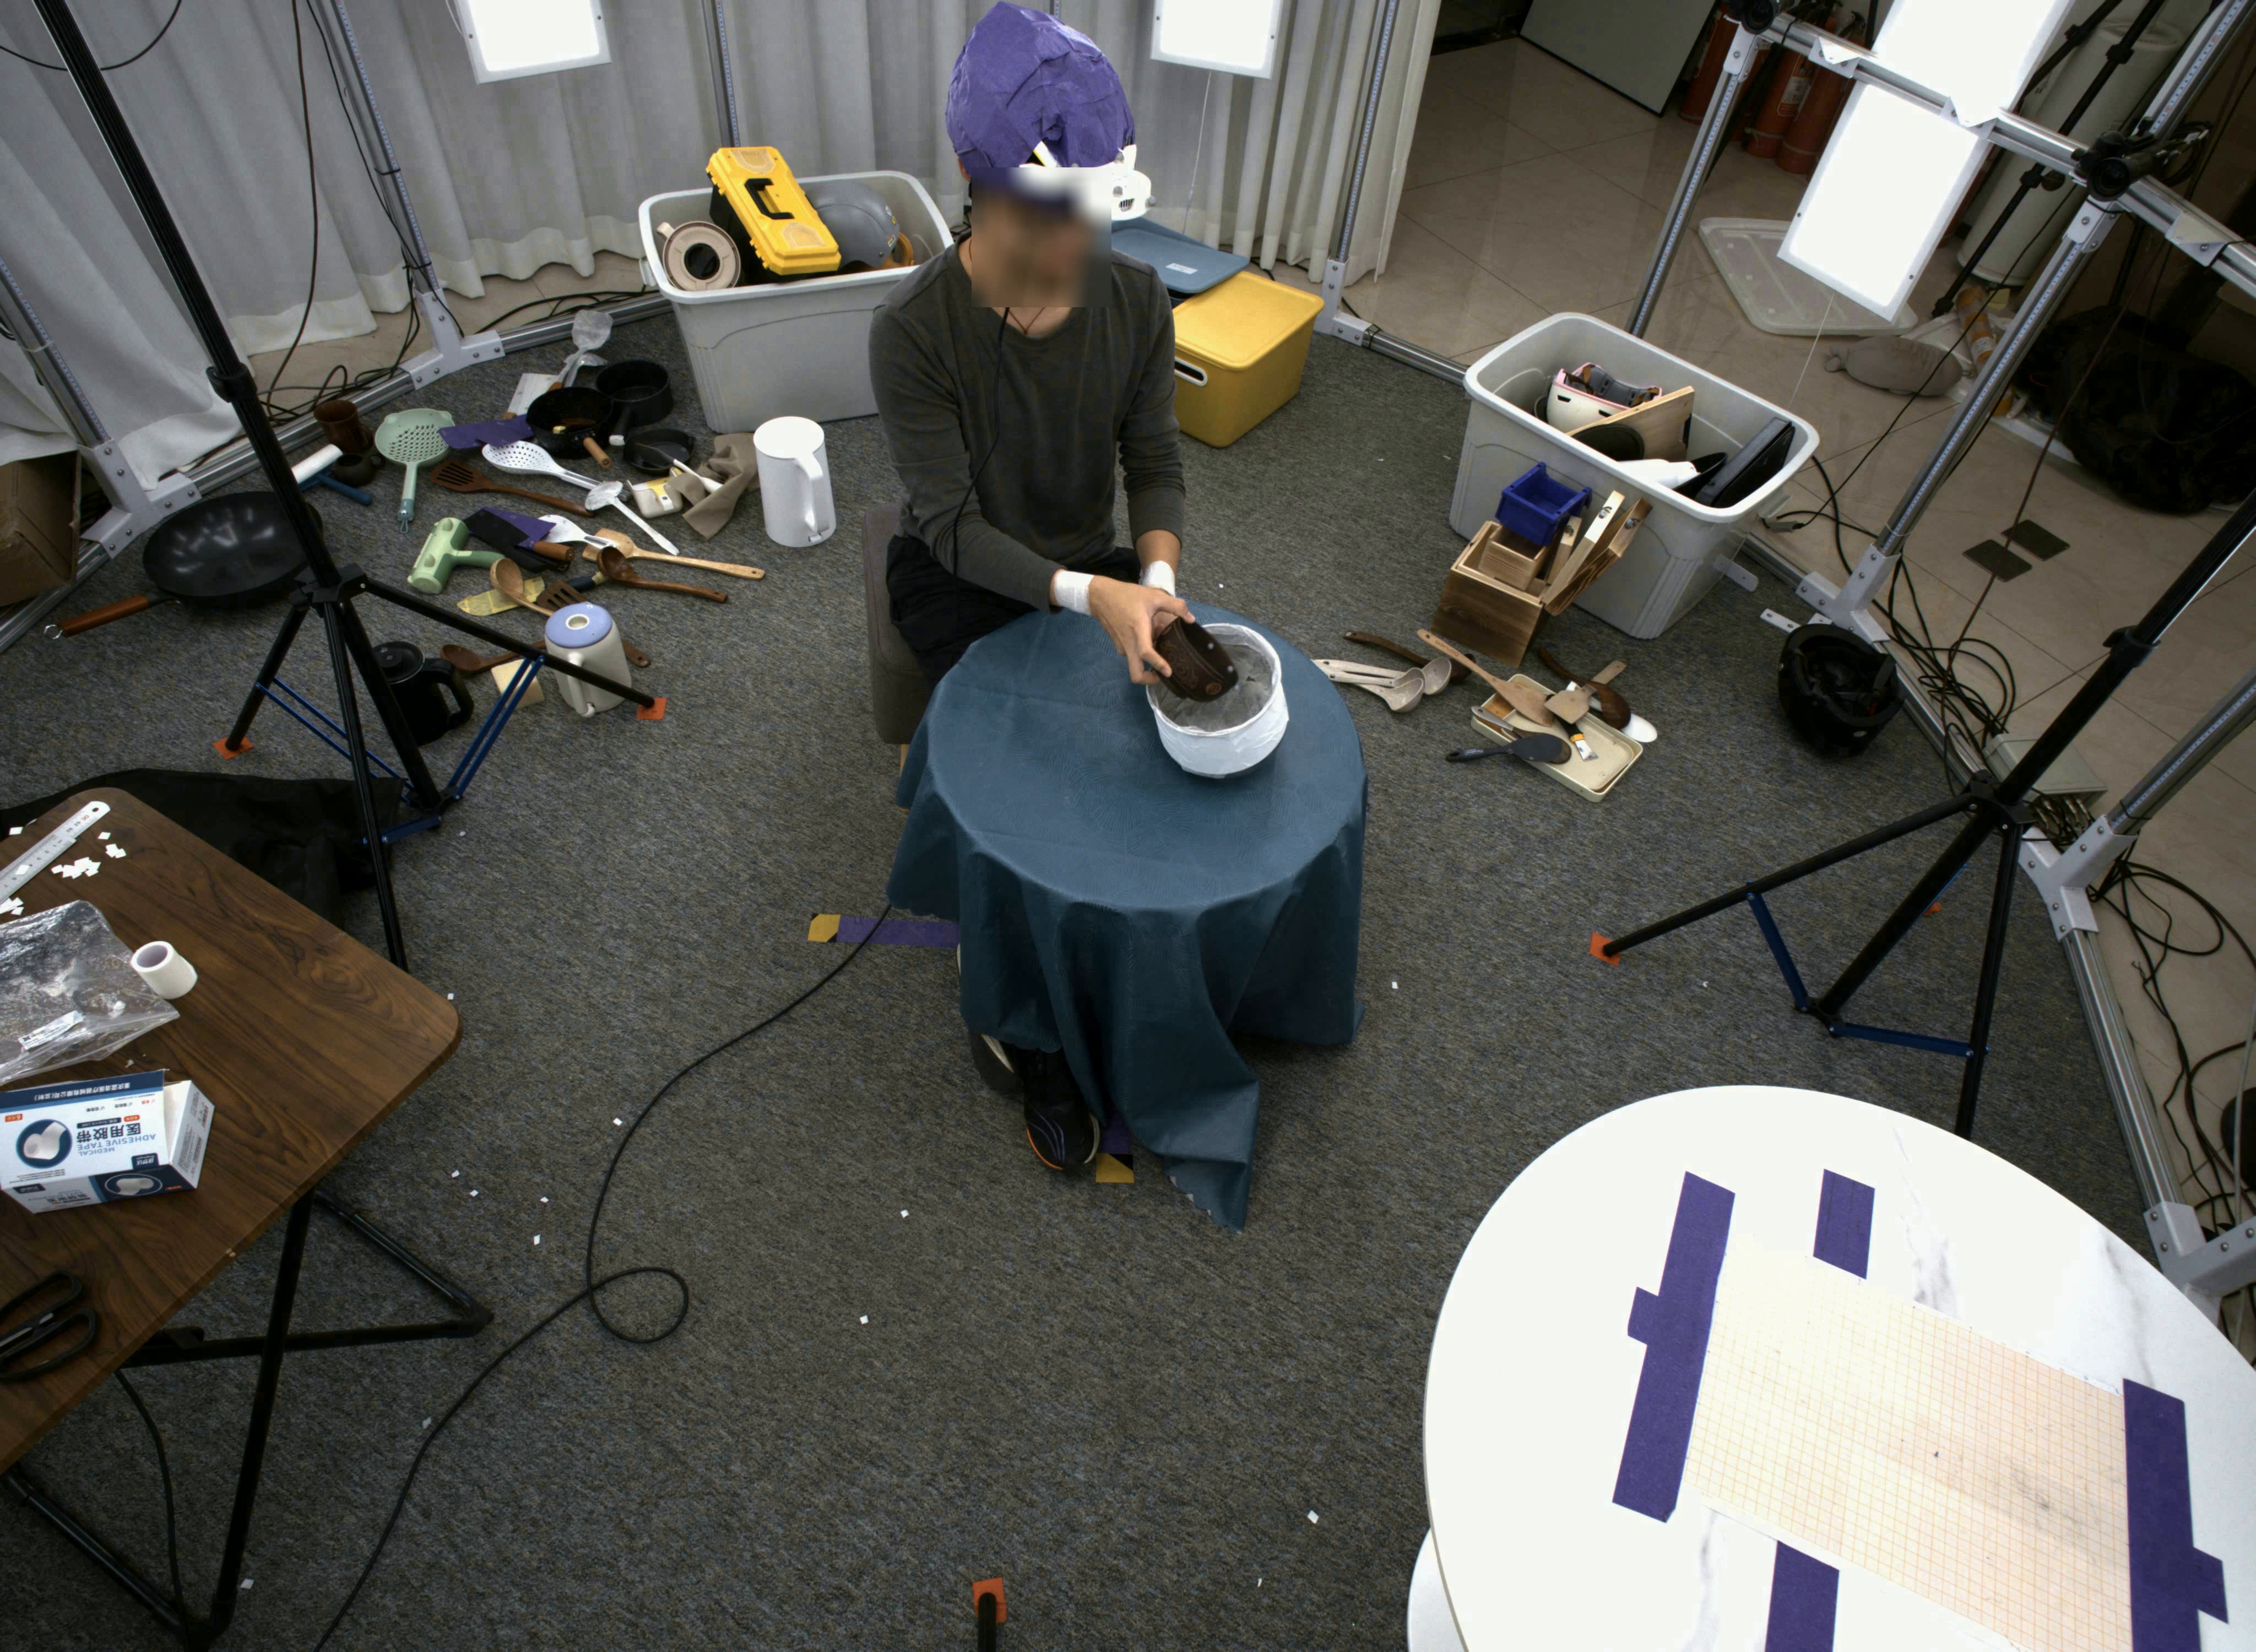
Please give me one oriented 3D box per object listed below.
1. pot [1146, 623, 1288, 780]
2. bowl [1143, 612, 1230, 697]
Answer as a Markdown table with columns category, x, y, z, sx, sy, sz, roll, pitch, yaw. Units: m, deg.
| category | x | y | z | sx | sy | sz | roll | pitch | yaw |
| --- | --- | --- | --- | --- | --- | --- | --- | --- | --- |
| pot | 0.107 | -0.180 | 1.722 | 0.179 | 0.133 | 0.238 | -34 | 59 | -8 |
| bowl | 0.067 | -0.213 | 1.656 | 0.117 | 0.069 | 0.120 | 38 | 18 | -15 |
